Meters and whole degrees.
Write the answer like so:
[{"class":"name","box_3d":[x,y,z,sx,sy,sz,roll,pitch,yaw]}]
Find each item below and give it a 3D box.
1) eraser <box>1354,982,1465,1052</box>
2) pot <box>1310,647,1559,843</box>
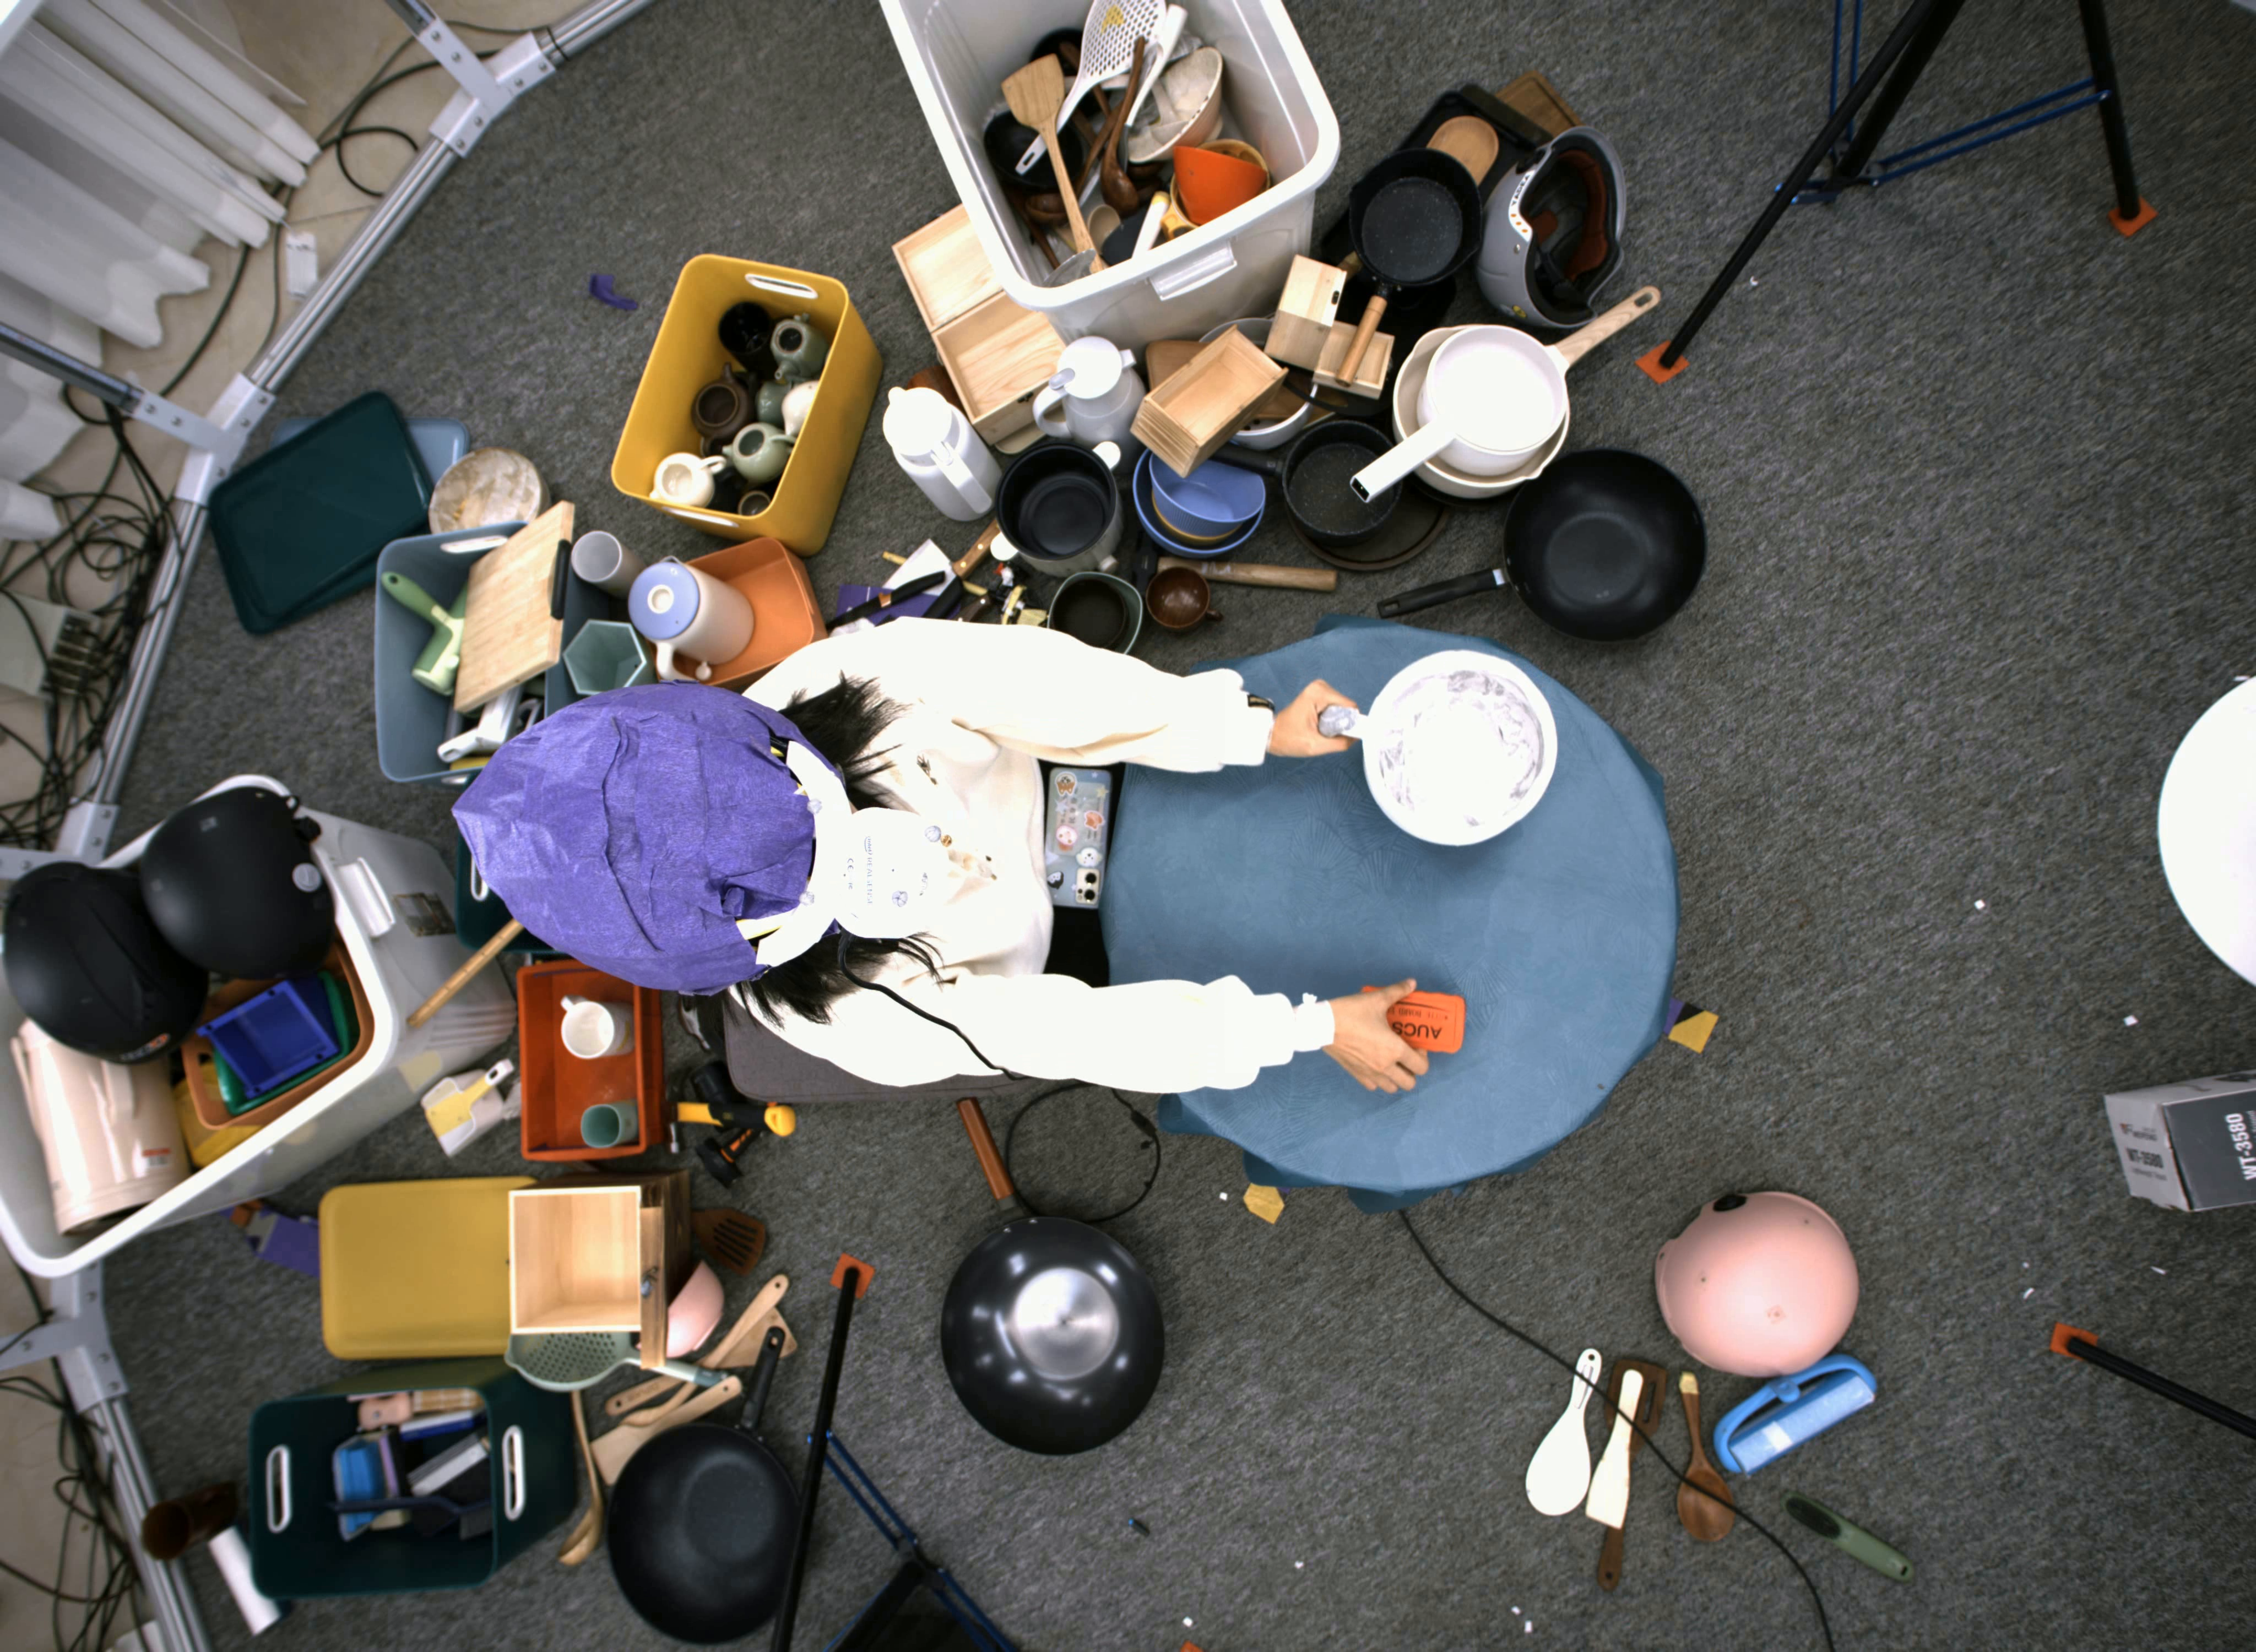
[{"class":"eraser","box_3d":[0.285,0.191,1.400,0.108,0.022,0.059,5,96,25]},{"class":"pot","box_3d":[0.291,-0.081,1.335,0.234,0.136,0.178,13,89,9]}]
